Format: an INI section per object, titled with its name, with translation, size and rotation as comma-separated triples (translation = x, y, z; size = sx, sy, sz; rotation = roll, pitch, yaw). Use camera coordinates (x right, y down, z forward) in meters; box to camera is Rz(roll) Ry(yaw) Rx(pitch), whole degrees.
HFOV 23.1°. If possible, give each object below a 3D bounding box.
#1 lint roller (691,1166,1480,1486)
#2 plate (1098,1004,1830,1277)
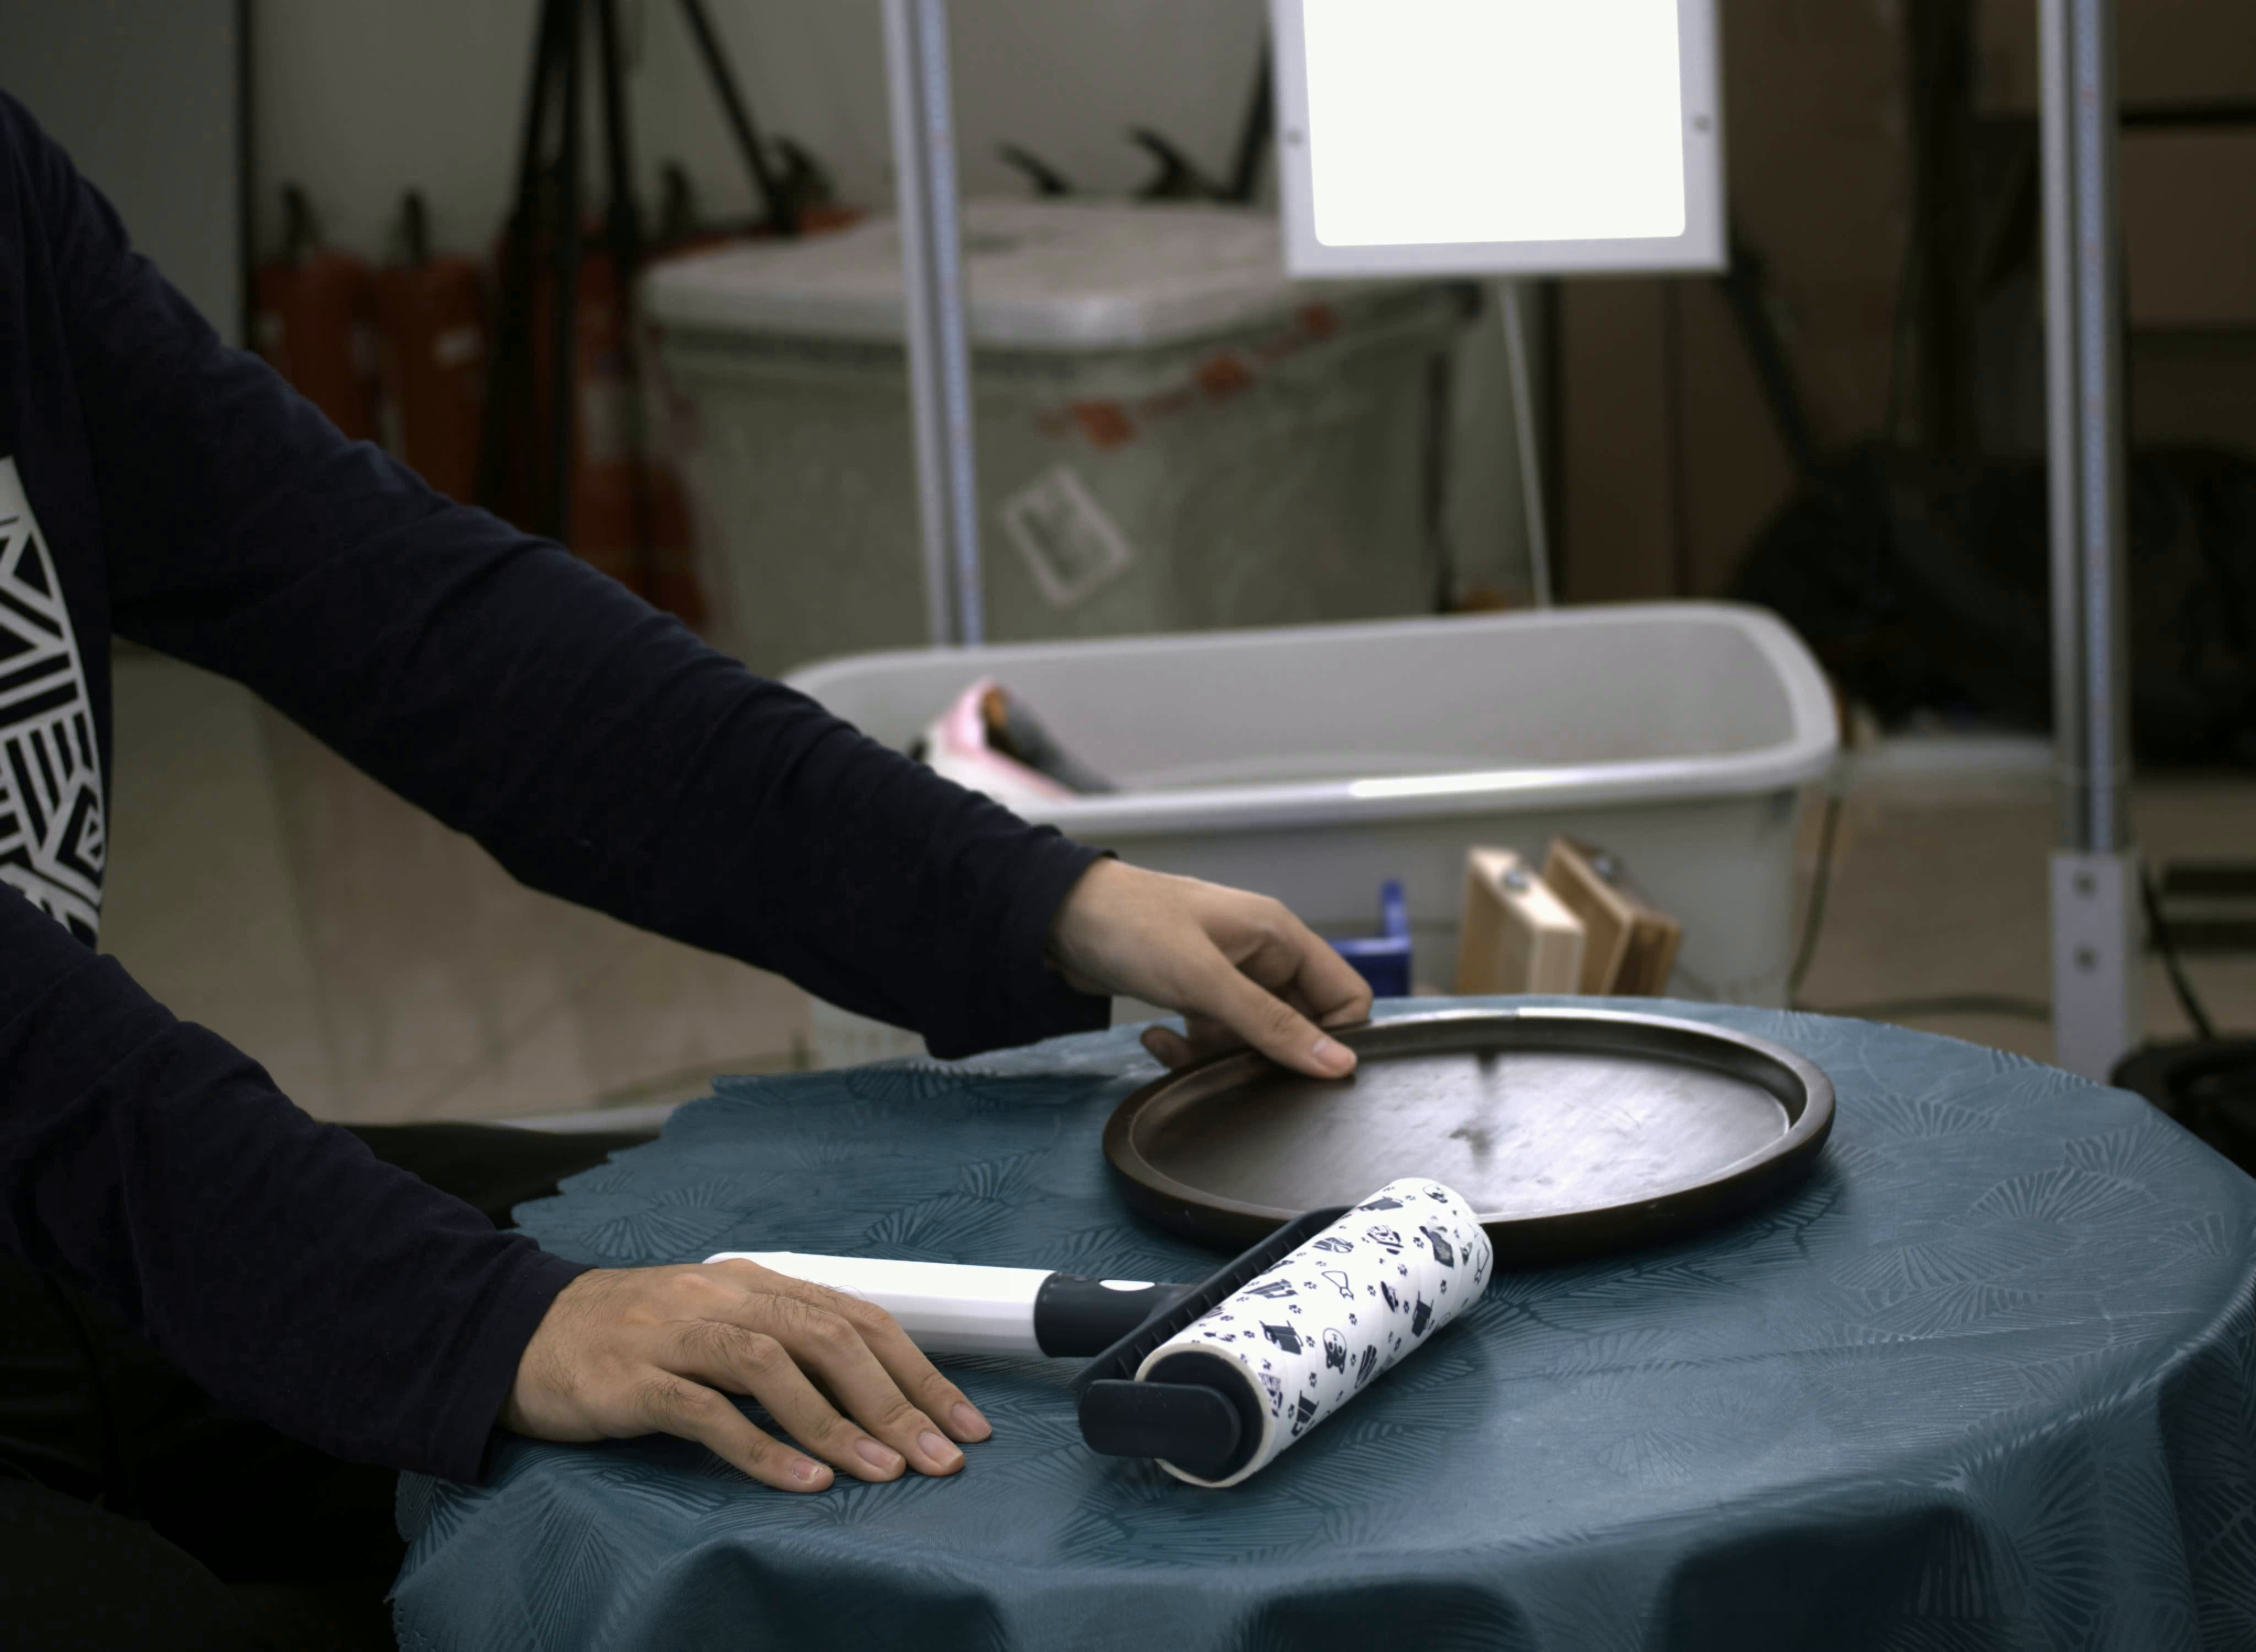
[lint roller]
translation = -0.033, 0.152, 1.727
size = 0.251, 0.050, 0.172
rotation = 0, 16, 29
[plate]
translation = 0.116, 0.107, 1.894
size = 0.254, 0.029, 0.254
rotation = -7, 13, 0
